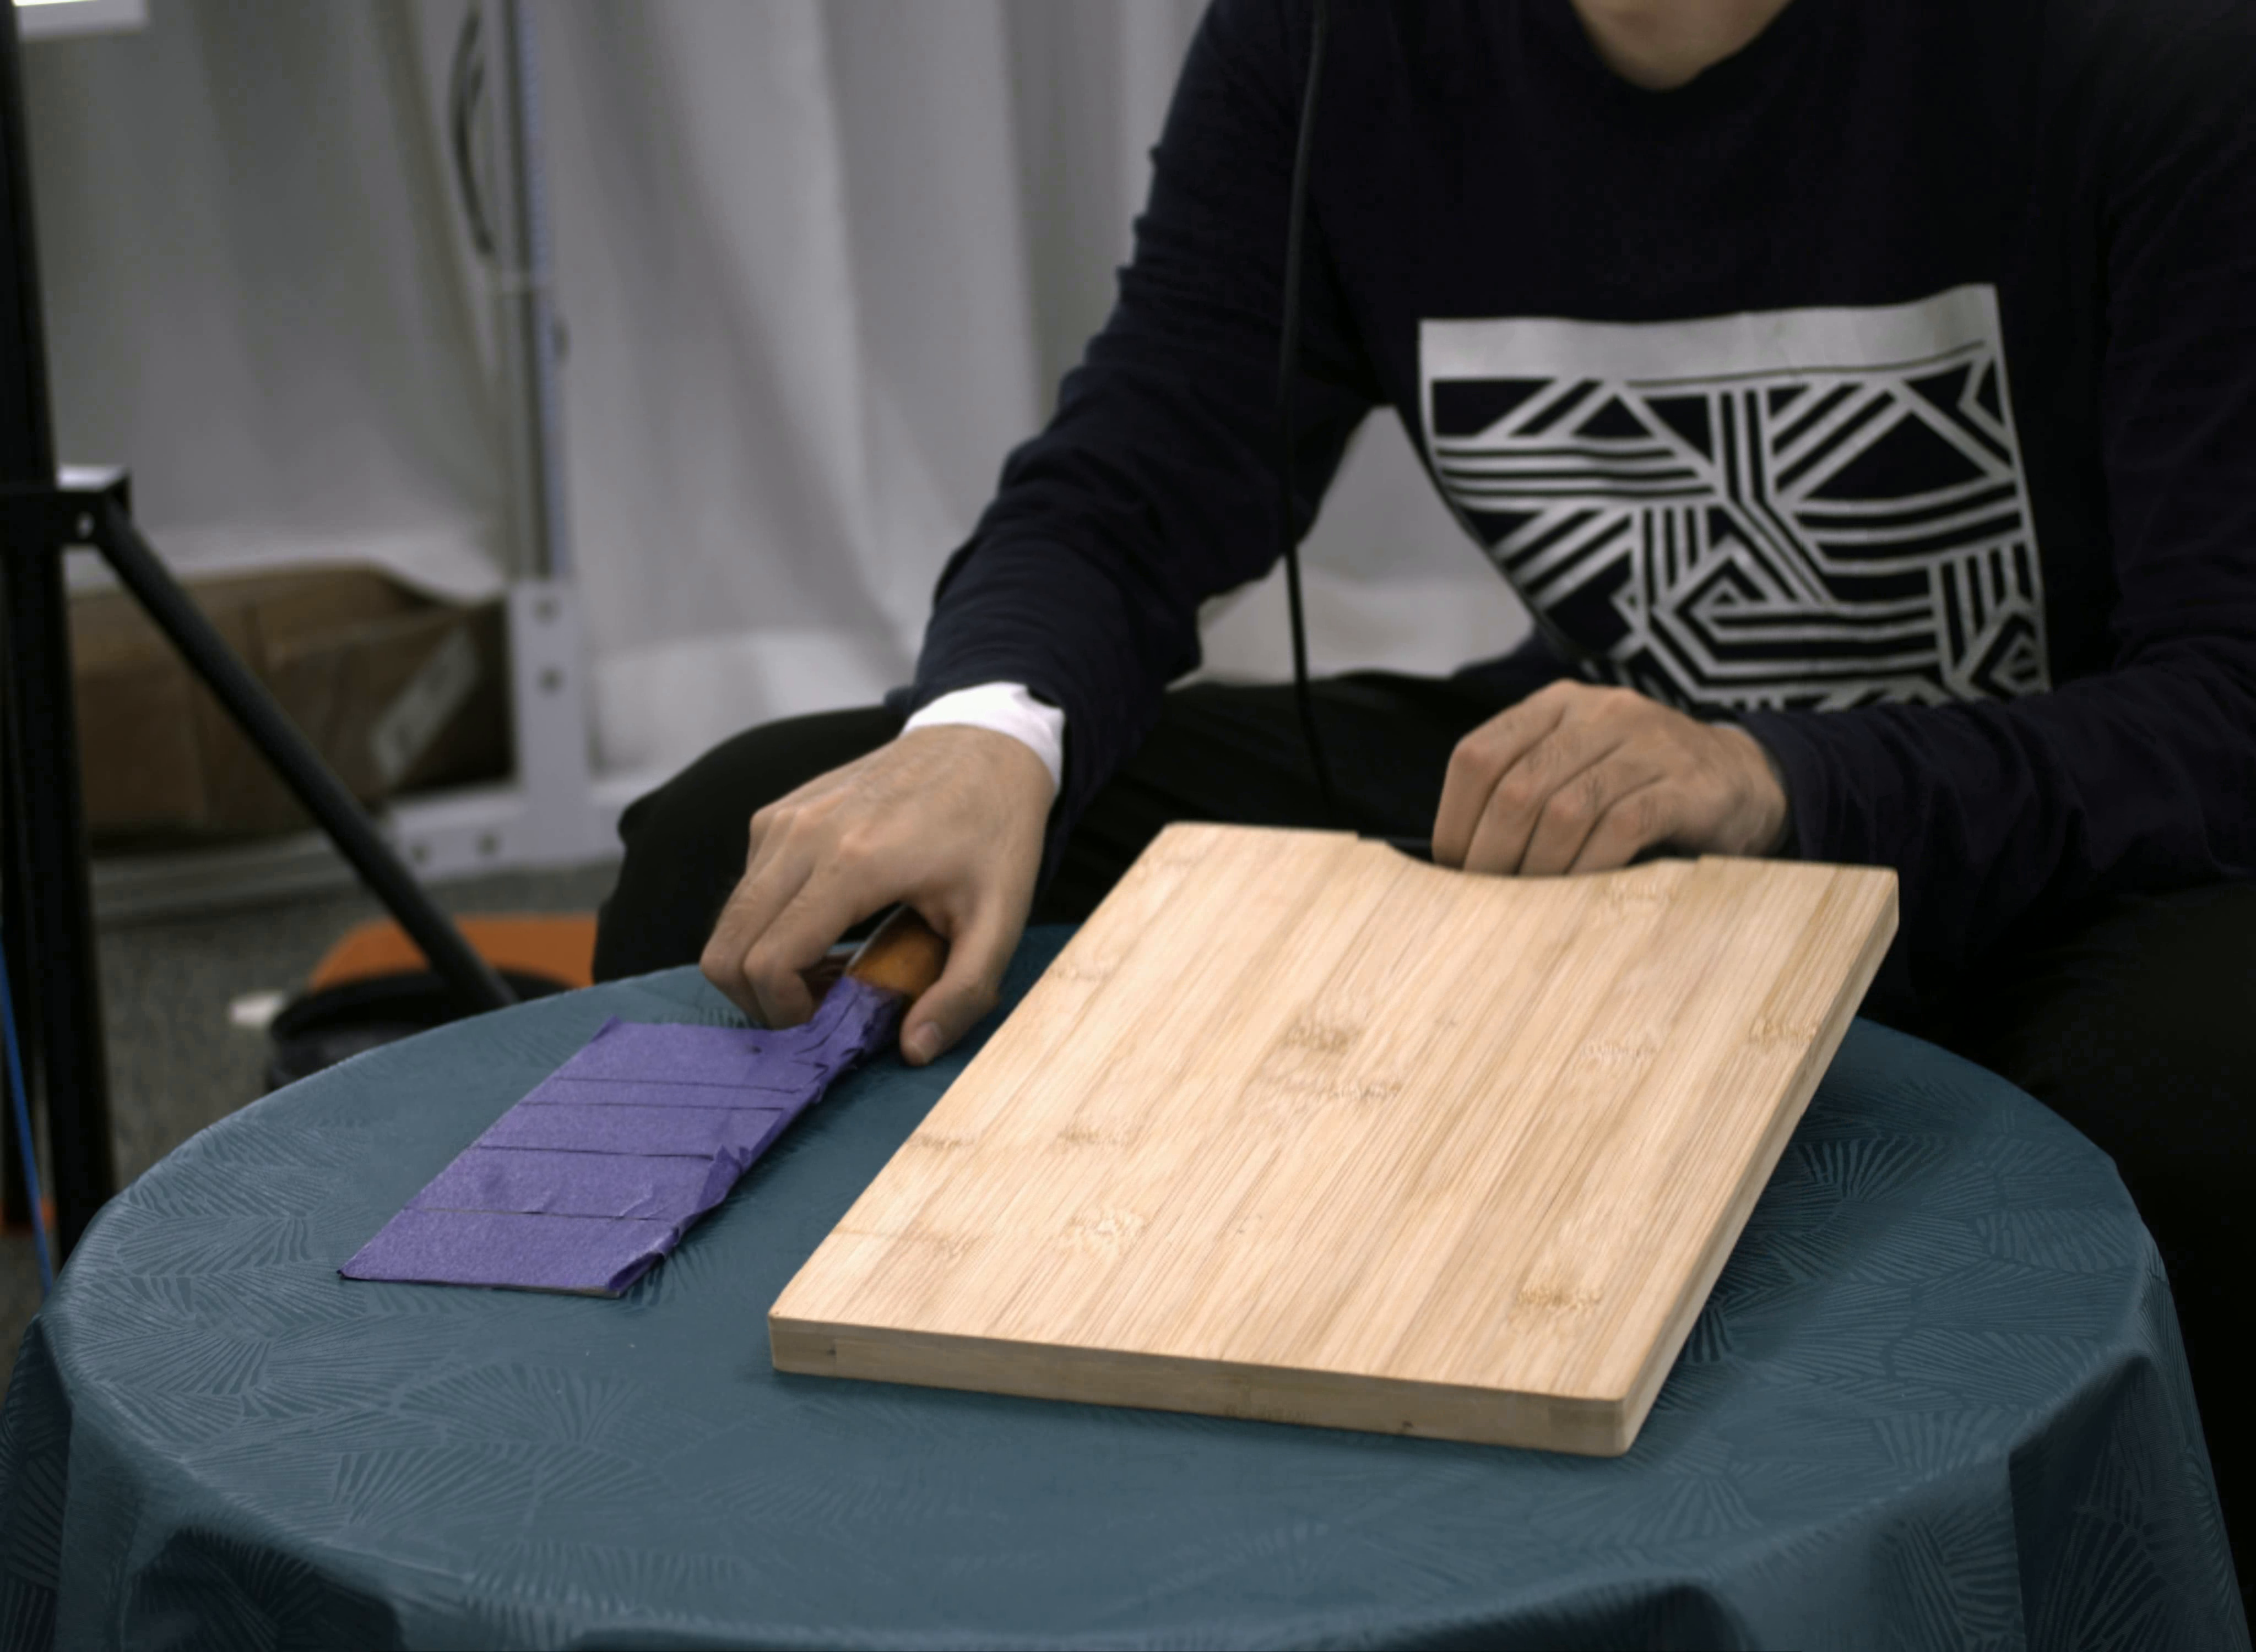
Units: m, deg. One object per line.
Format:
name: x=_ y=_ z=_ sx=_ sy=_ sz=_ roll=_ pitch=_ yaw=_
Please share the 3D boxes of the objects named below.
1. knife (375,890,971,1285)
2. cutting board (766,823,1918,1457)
knife: x=-0.137 y=0.077 z=1.643 sx=0.105 sy=0.032 sz=0.312 roll=3 pitch=17 yaw=17
cutting board: x=0.072 y=0.081 z=1.537 sx=0.253 sy=0.023 sz=0.345 roll=3 pitch=24 yaw=20
